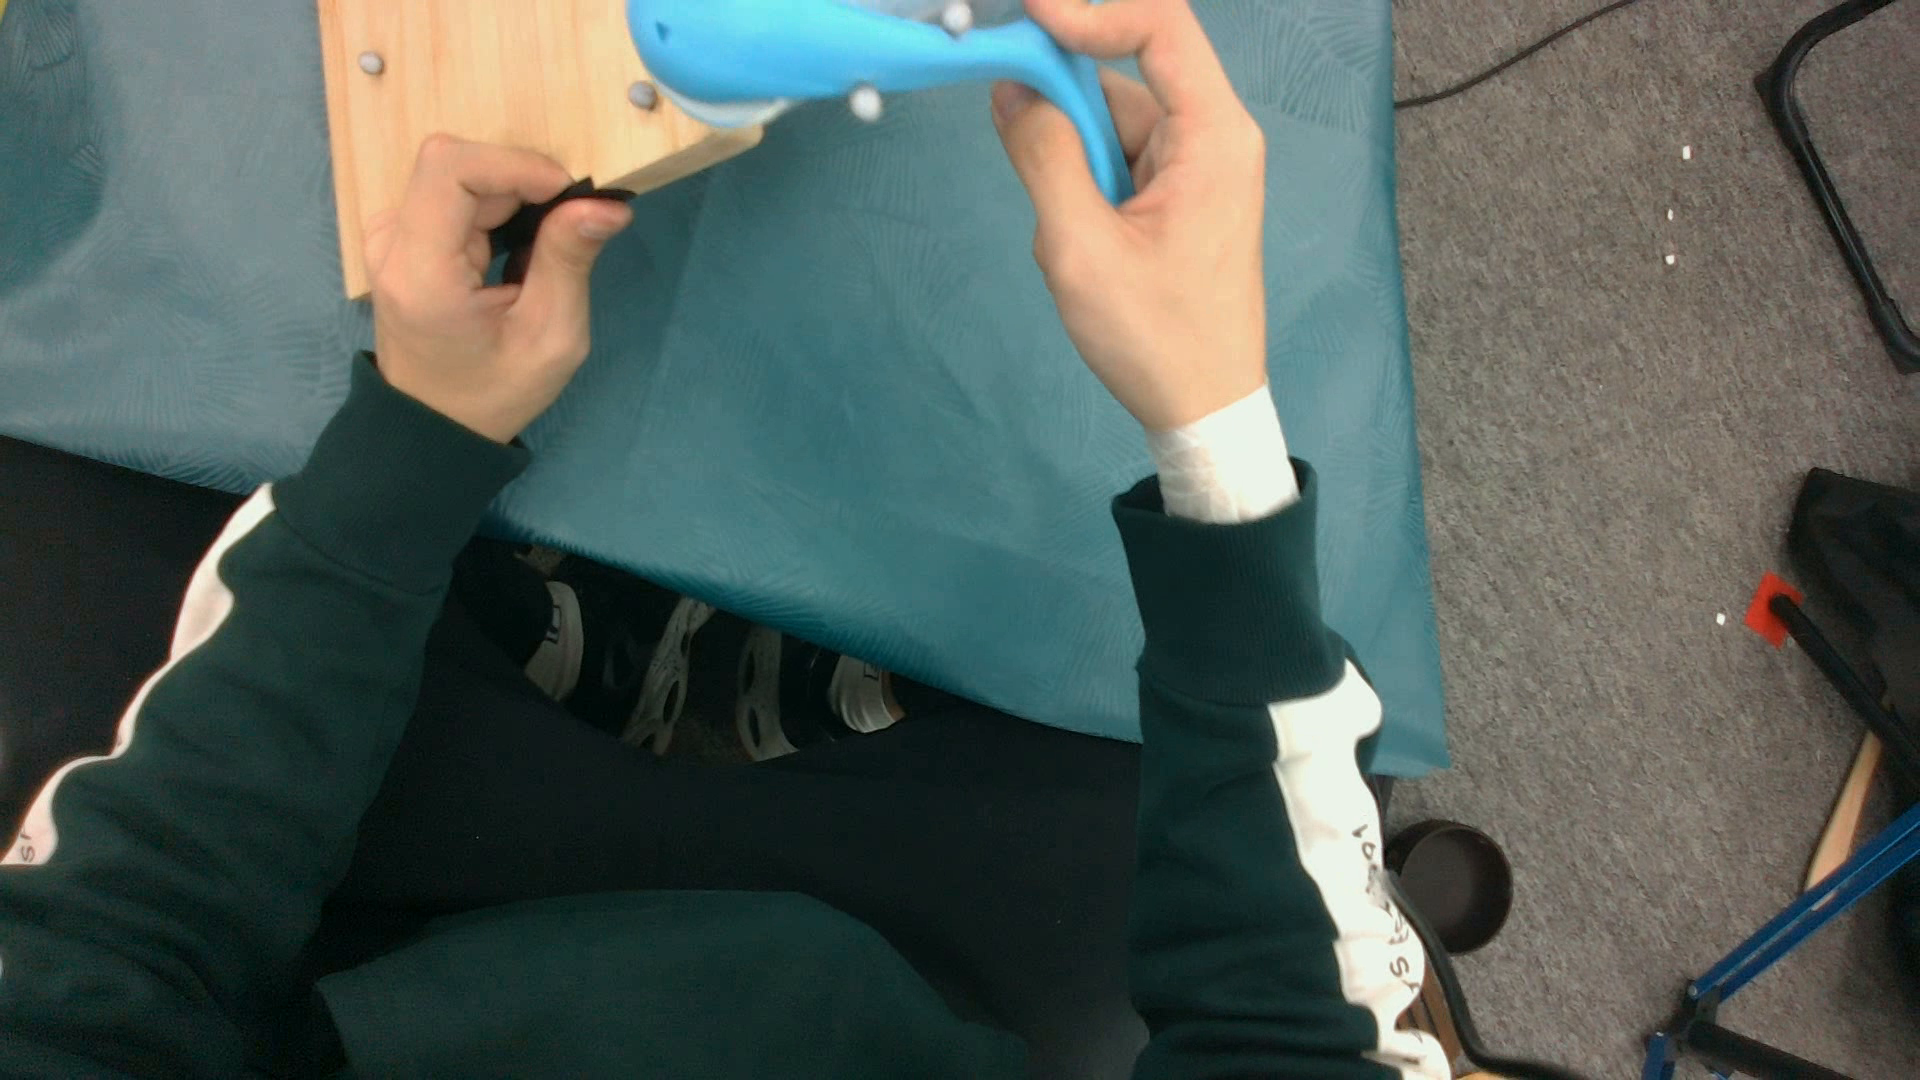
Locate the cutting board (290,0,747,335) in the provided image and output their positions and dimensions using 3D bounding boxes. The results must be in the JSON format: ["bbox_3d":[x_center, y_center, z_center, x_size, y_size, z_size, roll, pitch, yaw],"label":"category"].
[{"bbox_3d":[-0.184,-0.270,0.499,0.023,0.250,0.348,-6,87,-50],"label":"cutting board"}]

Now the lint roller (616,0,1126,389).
[{"bbox_3d":[0.008,-0.134,0.451,0.180,0.067,0.230,44,36,-10],"label":"lint roller"}]
